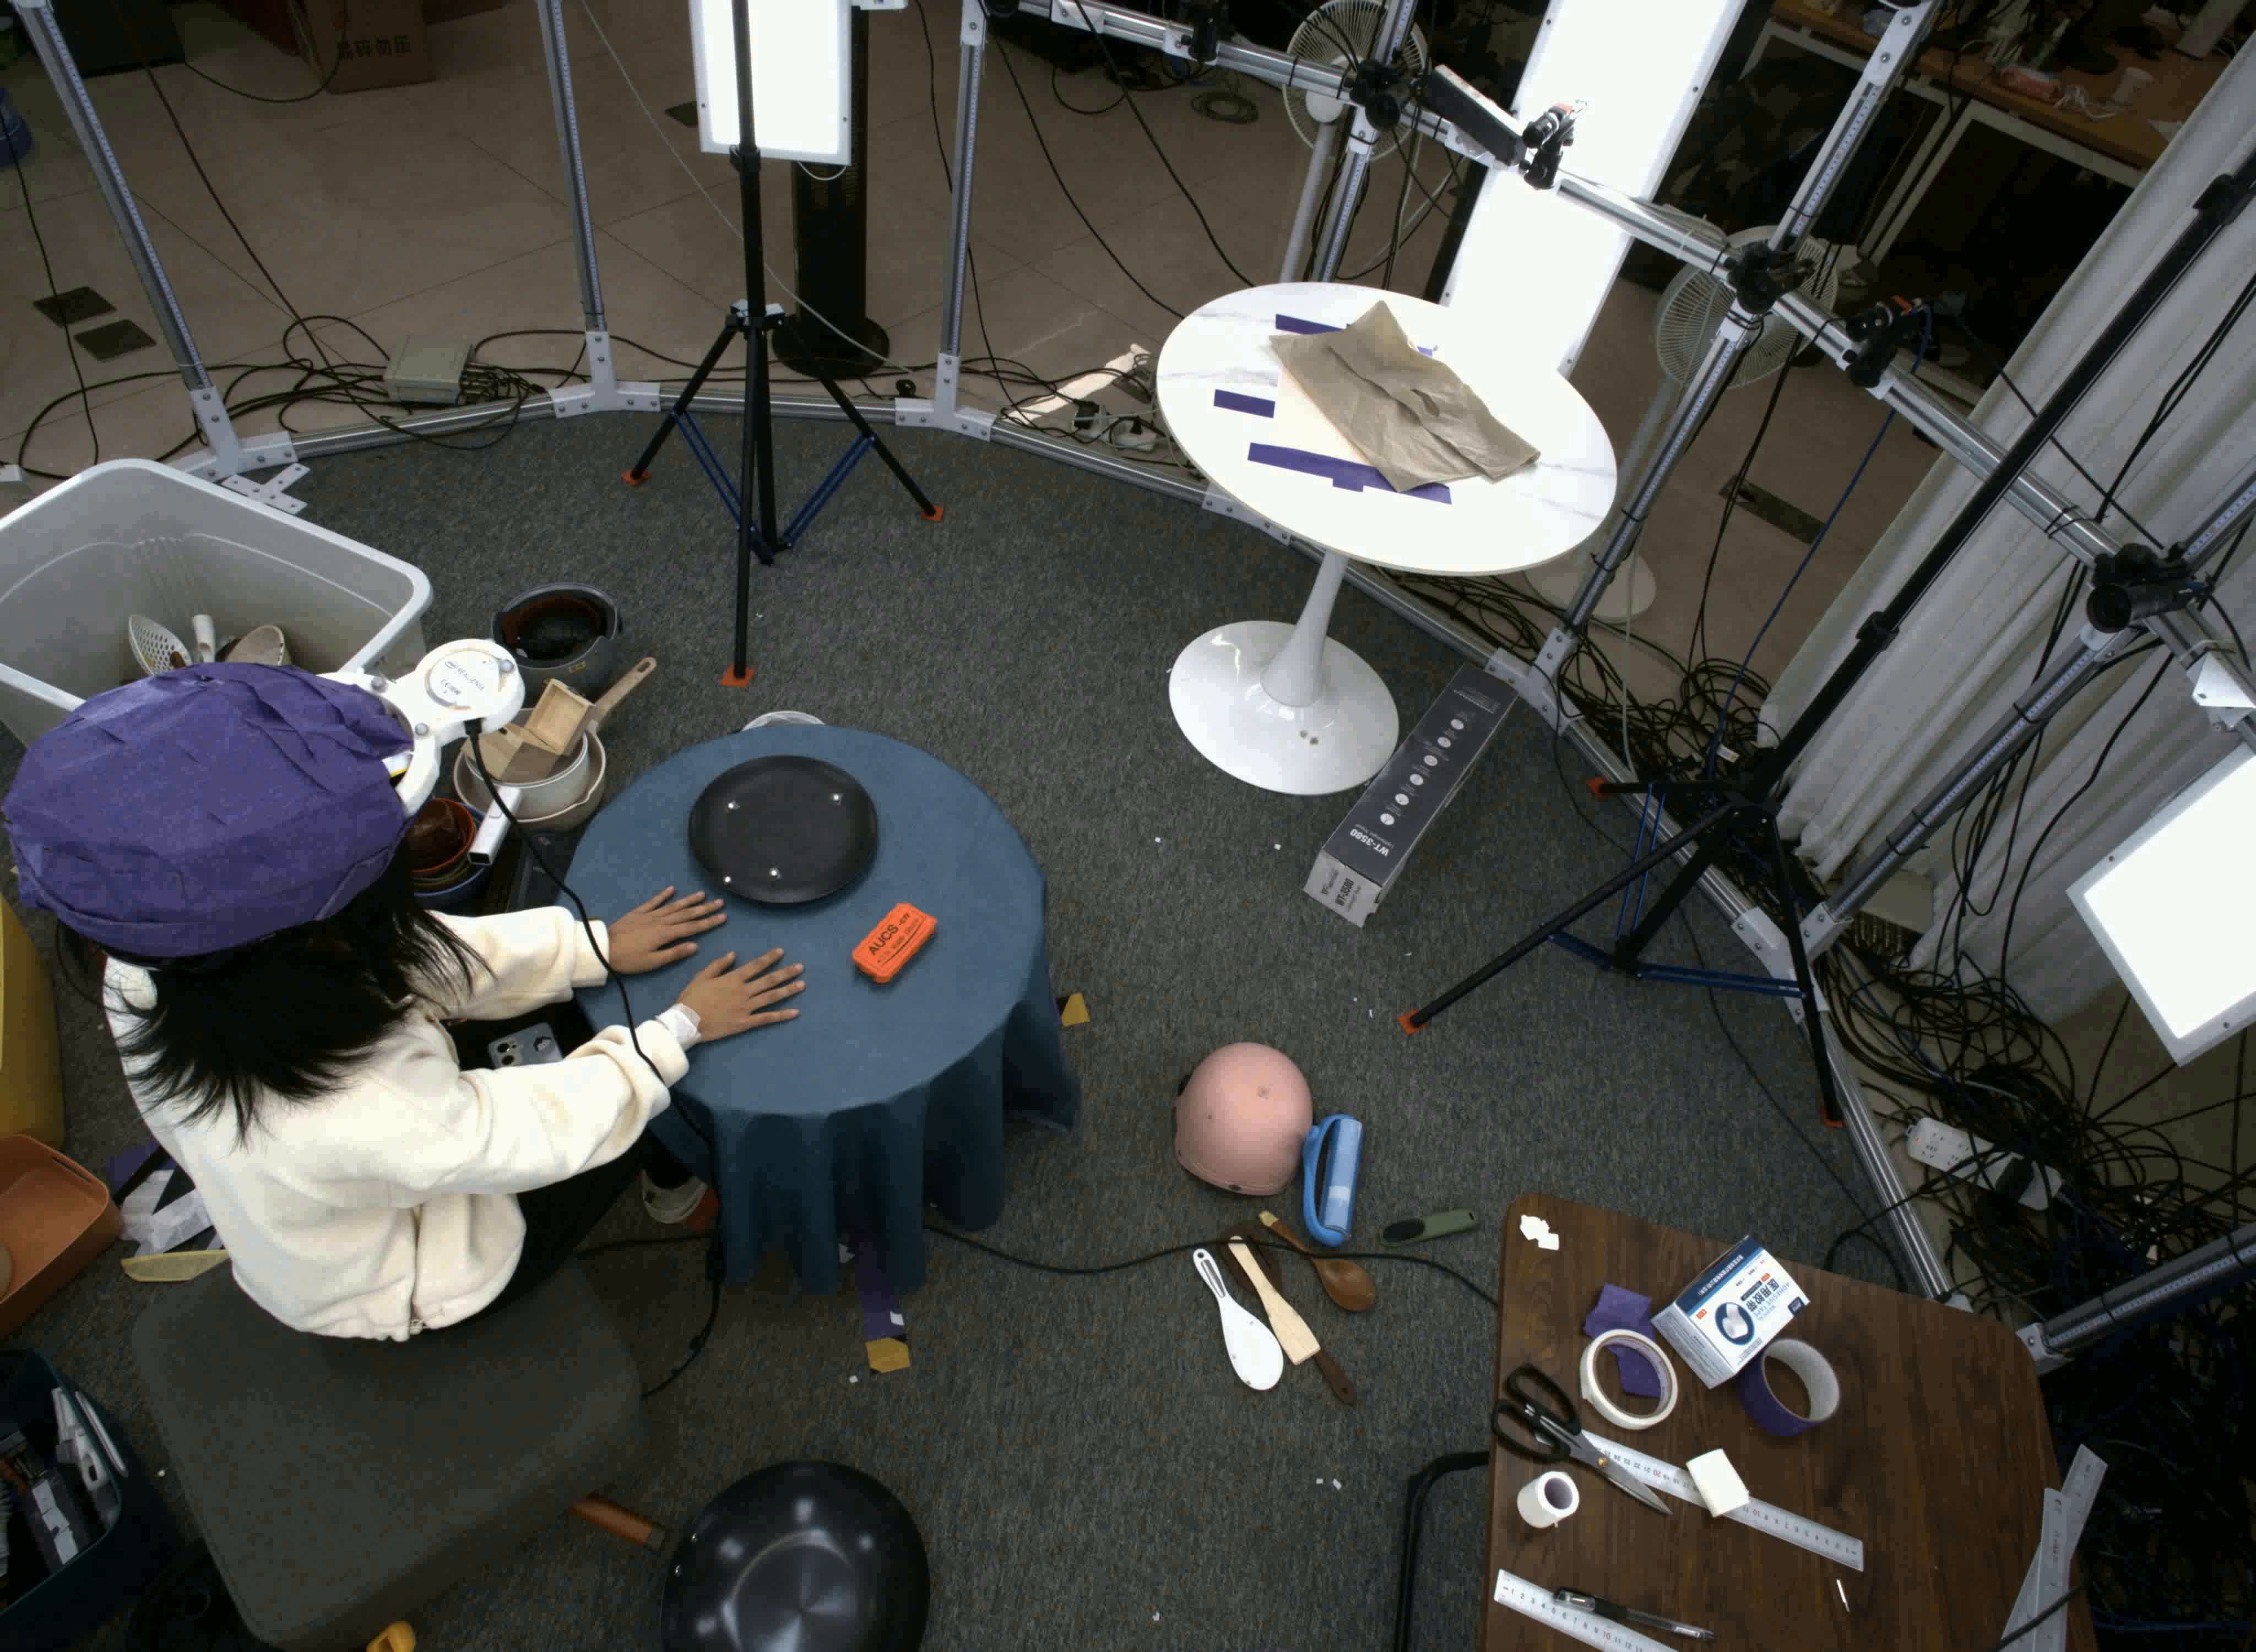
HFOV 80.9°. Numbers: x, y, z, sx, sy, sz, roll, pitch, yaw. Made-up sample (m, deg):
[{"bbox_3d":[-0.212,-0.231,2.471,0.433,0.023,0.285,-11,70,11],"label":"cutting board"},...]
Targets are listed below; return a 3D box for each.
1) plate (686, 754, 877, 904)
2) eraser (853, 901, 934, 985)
[{"bbox_3d":[-0.452,0.005,1.693,0.244,0.024,0.240,8,53,-9],"label":"plate"},{"bbox_3d":[-0.293,0.143,1.628,0.058,0.023,0.107,31,50,9],"label":"eraser"}]
